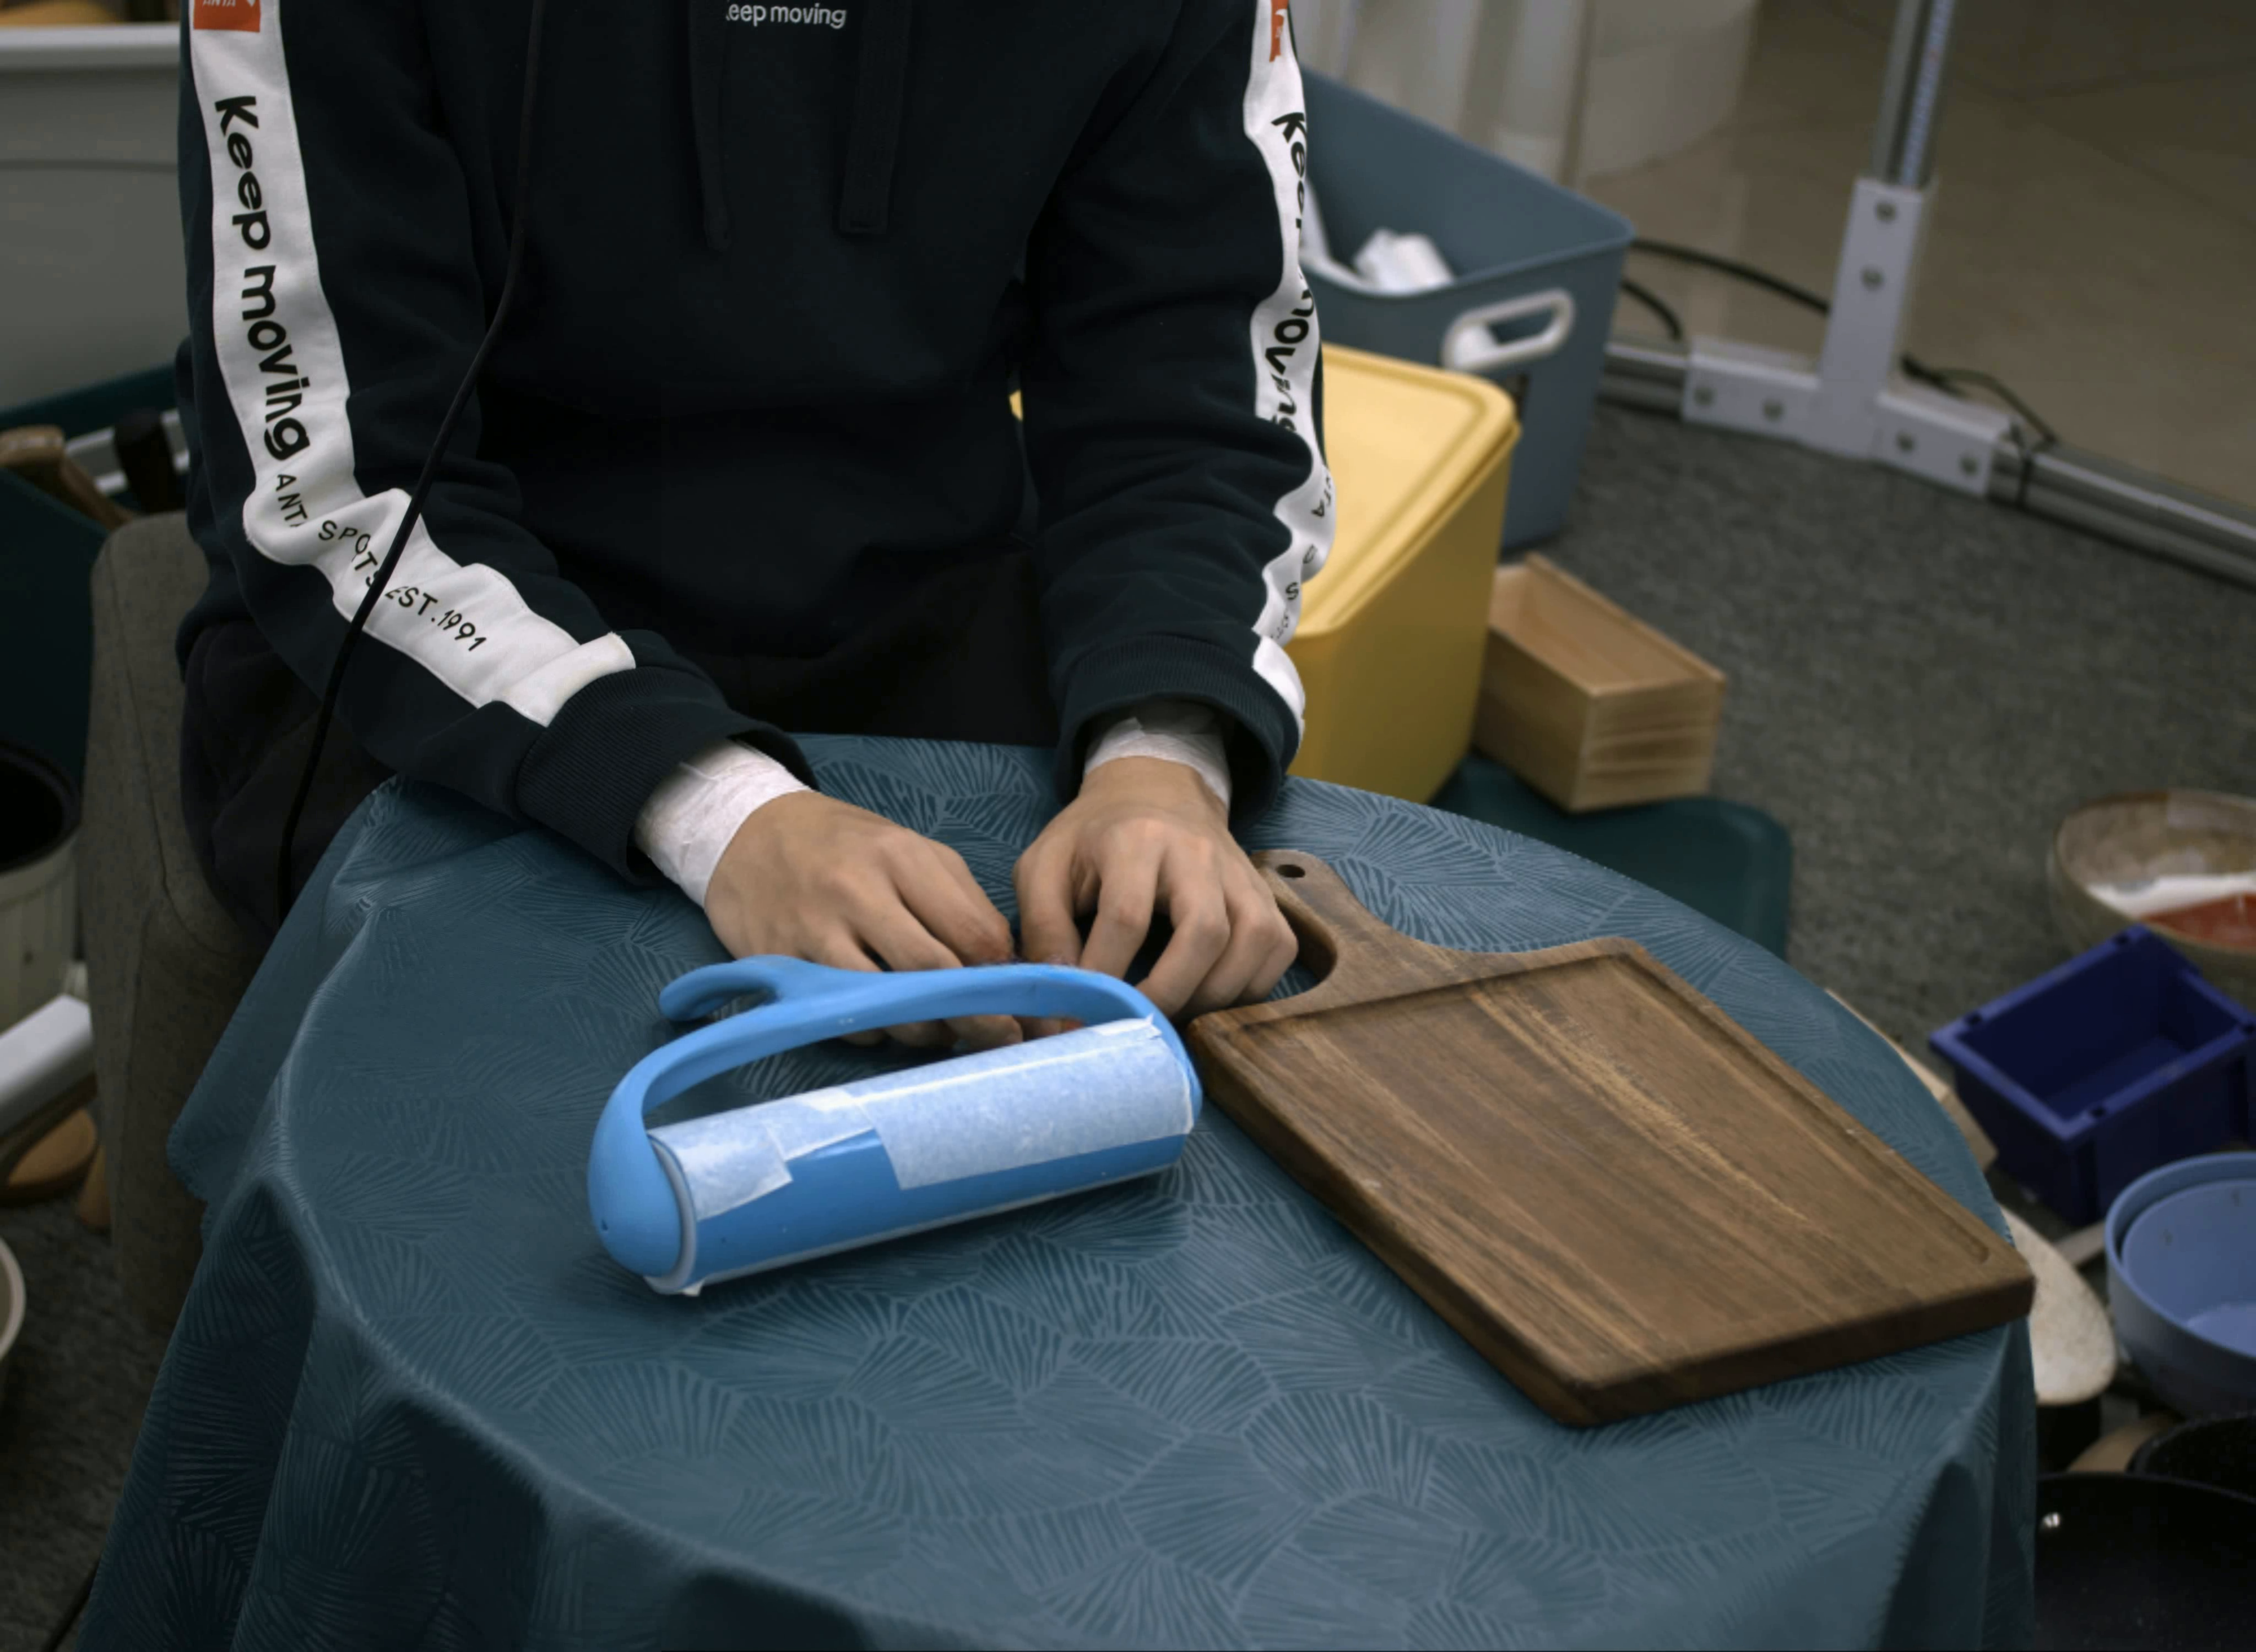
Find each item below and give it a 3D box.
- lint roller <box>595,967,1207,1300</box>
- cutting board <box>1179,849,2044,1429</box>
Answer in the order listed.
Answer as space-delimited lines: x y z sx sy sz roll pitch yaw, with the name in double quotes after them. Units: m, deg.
-0.106 0.082 1.794 0.227 0.067 0.182 -15 34 -33 "lint roller"
0.137 0.095 1.862 0.200 0.023 0.355 -9 31 -30 "cutting board"
